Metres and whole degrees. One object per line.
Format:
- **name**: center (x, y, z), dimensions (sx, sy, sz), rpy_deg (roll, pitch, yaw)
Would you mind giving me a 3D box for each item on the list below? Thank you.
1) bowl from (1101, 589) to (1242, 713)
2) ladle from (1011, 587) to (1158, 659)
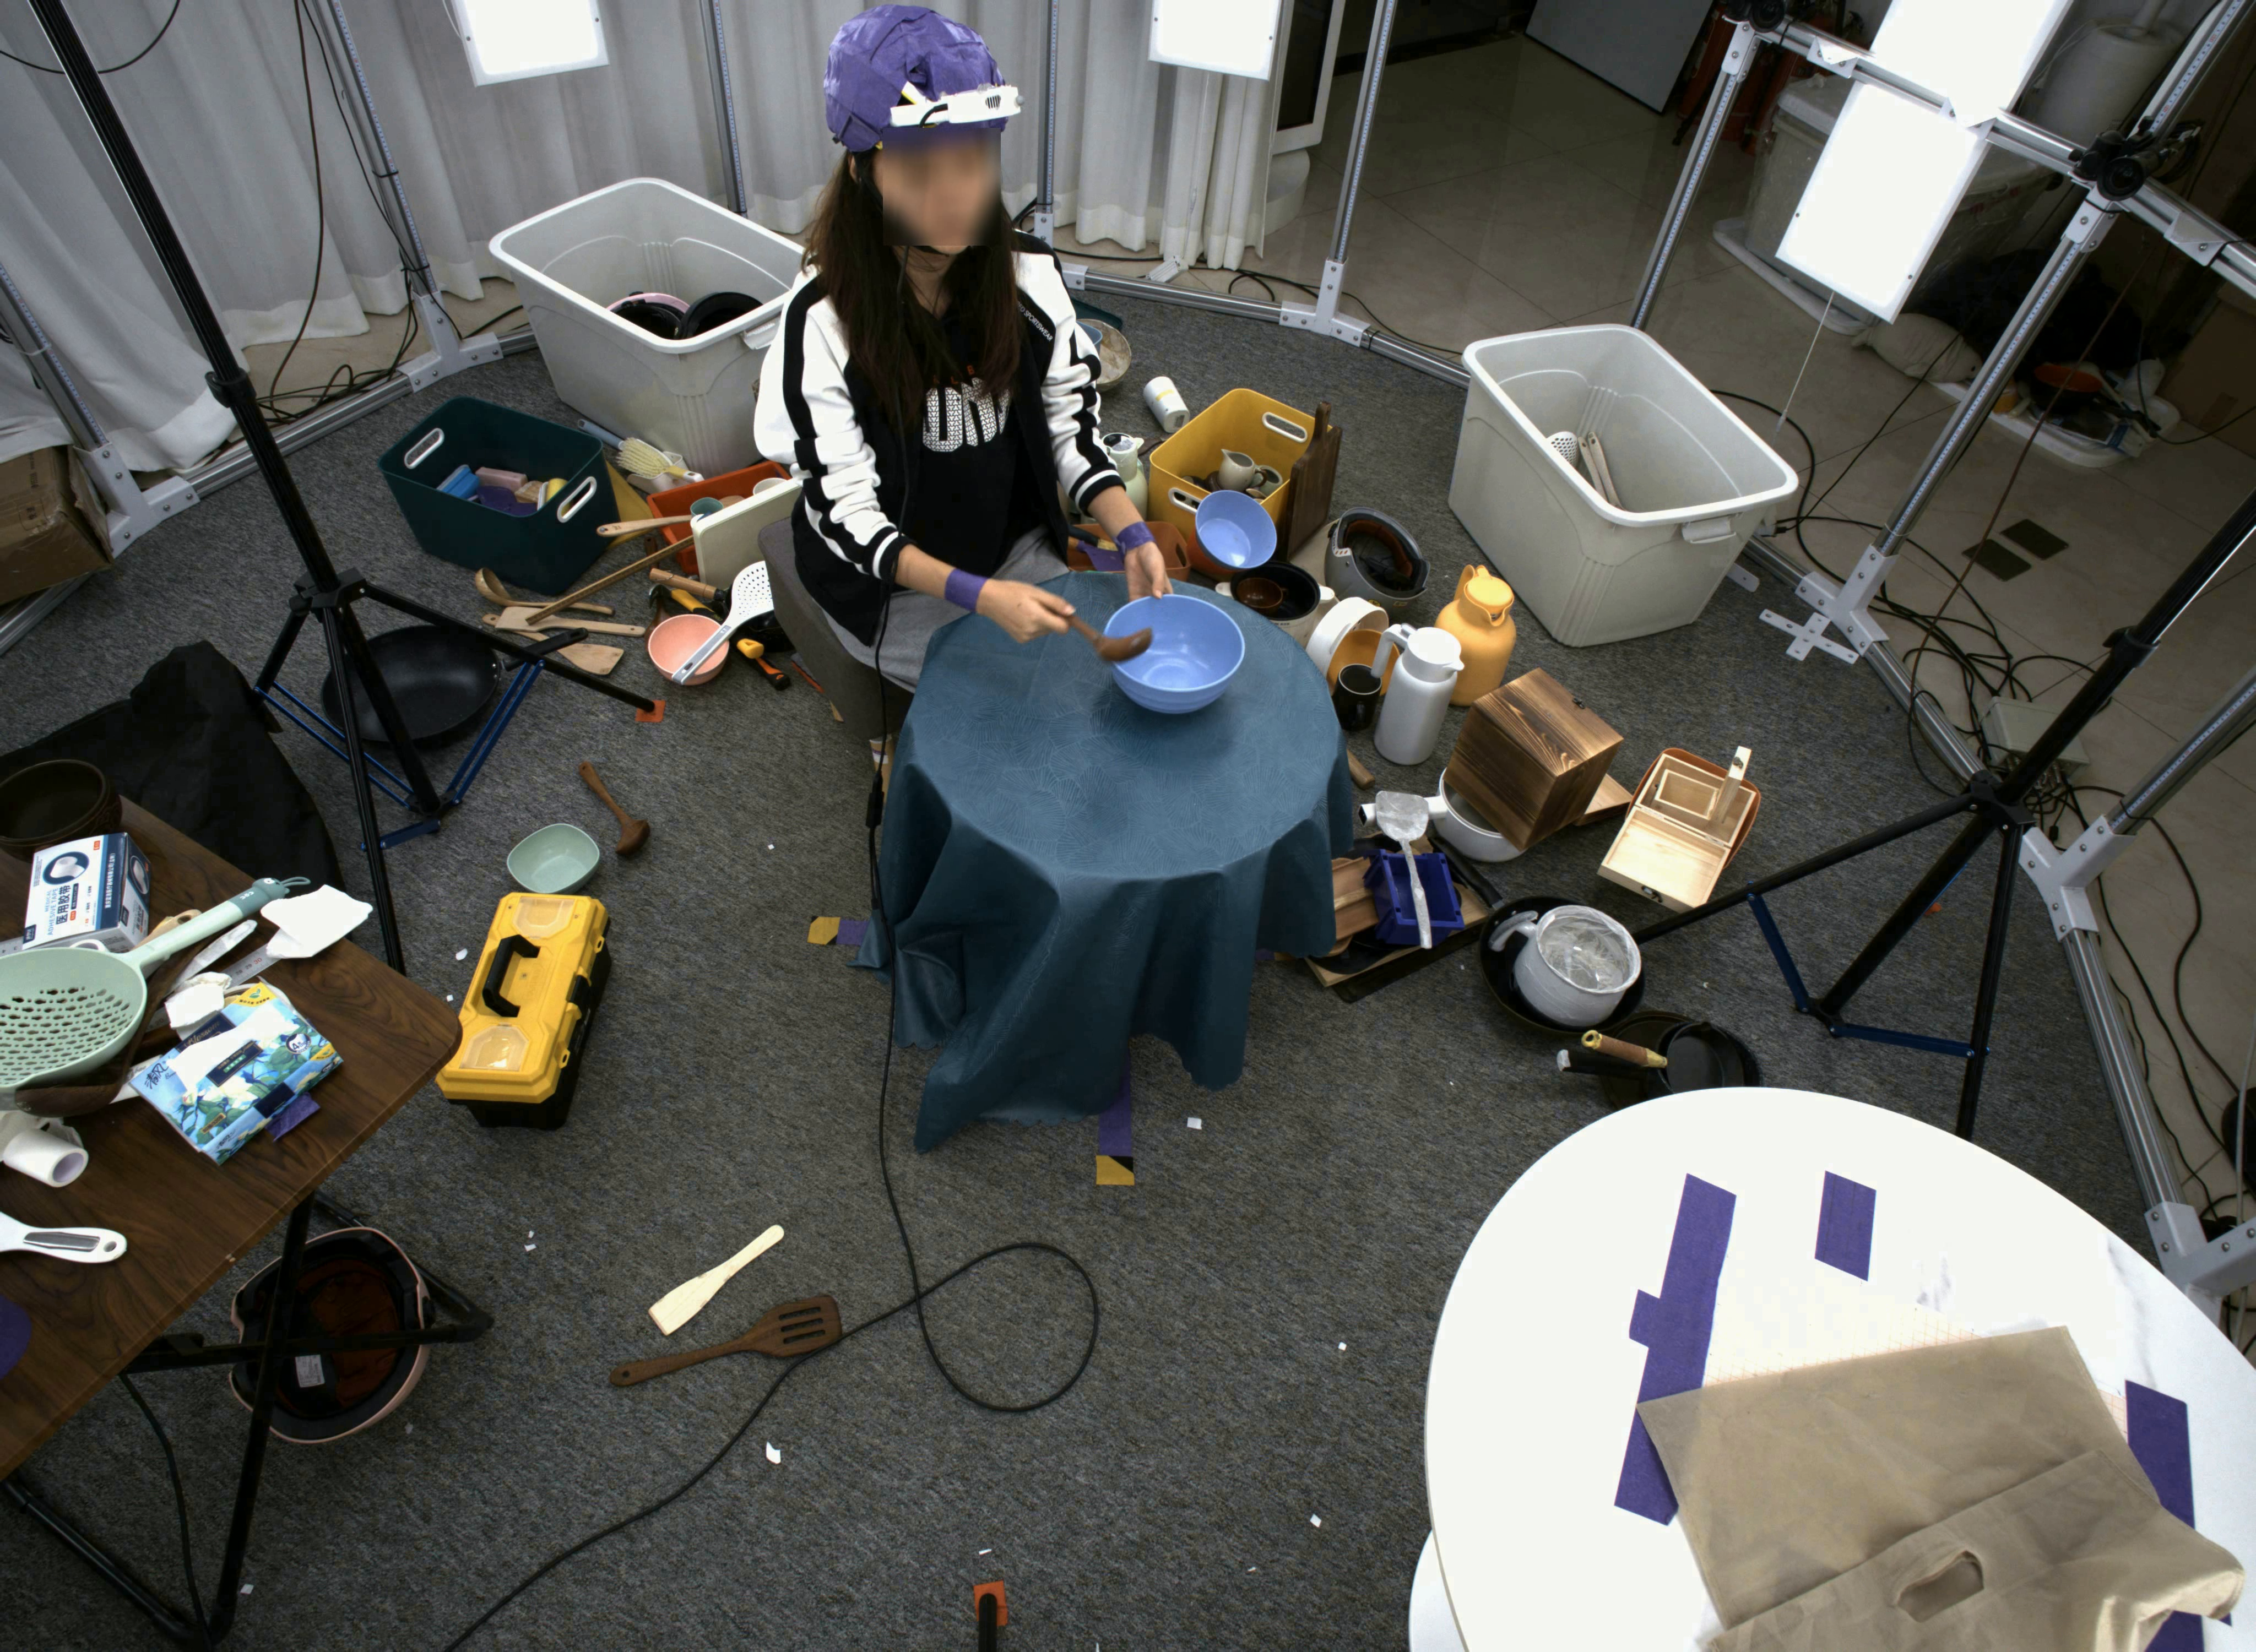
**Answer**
- **bowl**: center (0.059, -0.232, 1.815), dimensions (0.196, 0.093, 0.201), rpy_deg (0, 55, -1)
- **ladle**: center (-0.065, -0.285, 1.699), dimensions (0.077, 0.064, 0.264), rpy_deg (-22, 44, -39)
